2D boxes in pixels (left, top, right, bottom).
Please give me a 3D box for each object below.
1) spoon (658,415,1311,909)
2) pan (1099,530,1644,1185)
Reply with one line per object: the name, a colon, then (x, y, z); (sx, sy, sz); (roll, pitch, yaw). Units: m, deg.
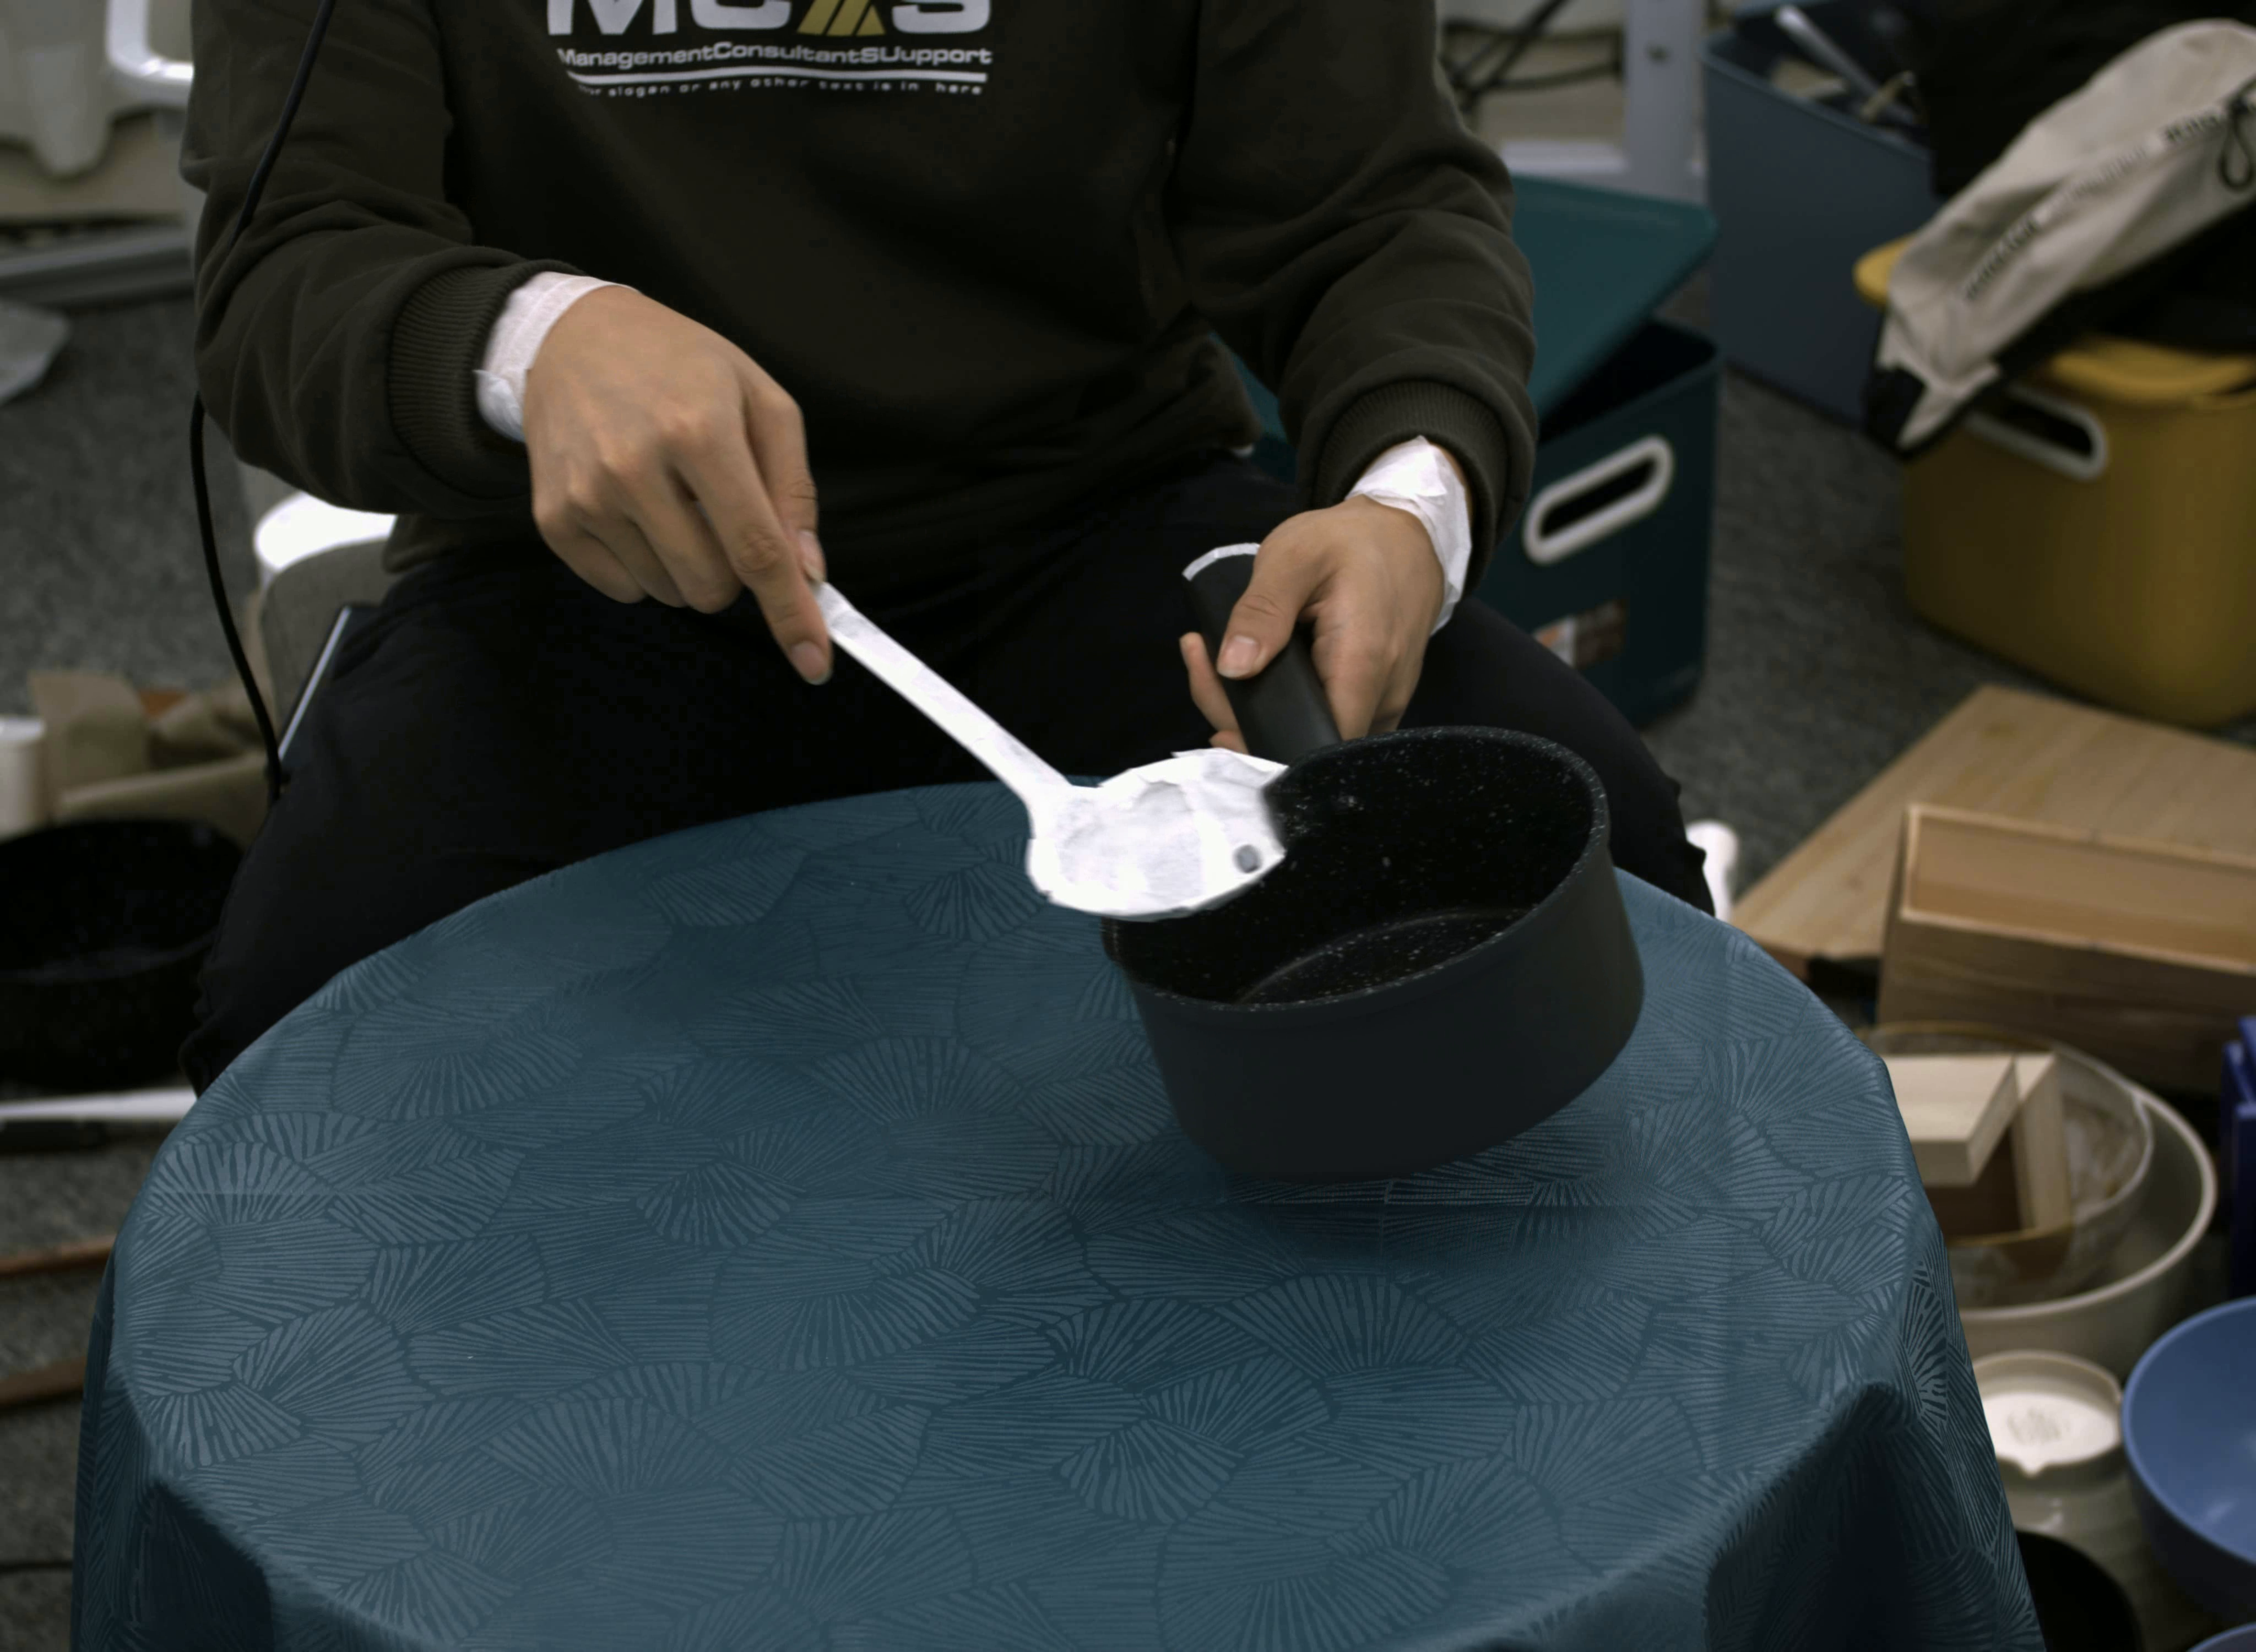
spoon: (-0.053, -0.065, 1.844); (0.102, 0.058, 0.278); (-30, 64, -37)
pan: (0.073, 0.005, 1.917); (0.171, 0.085, 0.333); (-16, 28, 1)
